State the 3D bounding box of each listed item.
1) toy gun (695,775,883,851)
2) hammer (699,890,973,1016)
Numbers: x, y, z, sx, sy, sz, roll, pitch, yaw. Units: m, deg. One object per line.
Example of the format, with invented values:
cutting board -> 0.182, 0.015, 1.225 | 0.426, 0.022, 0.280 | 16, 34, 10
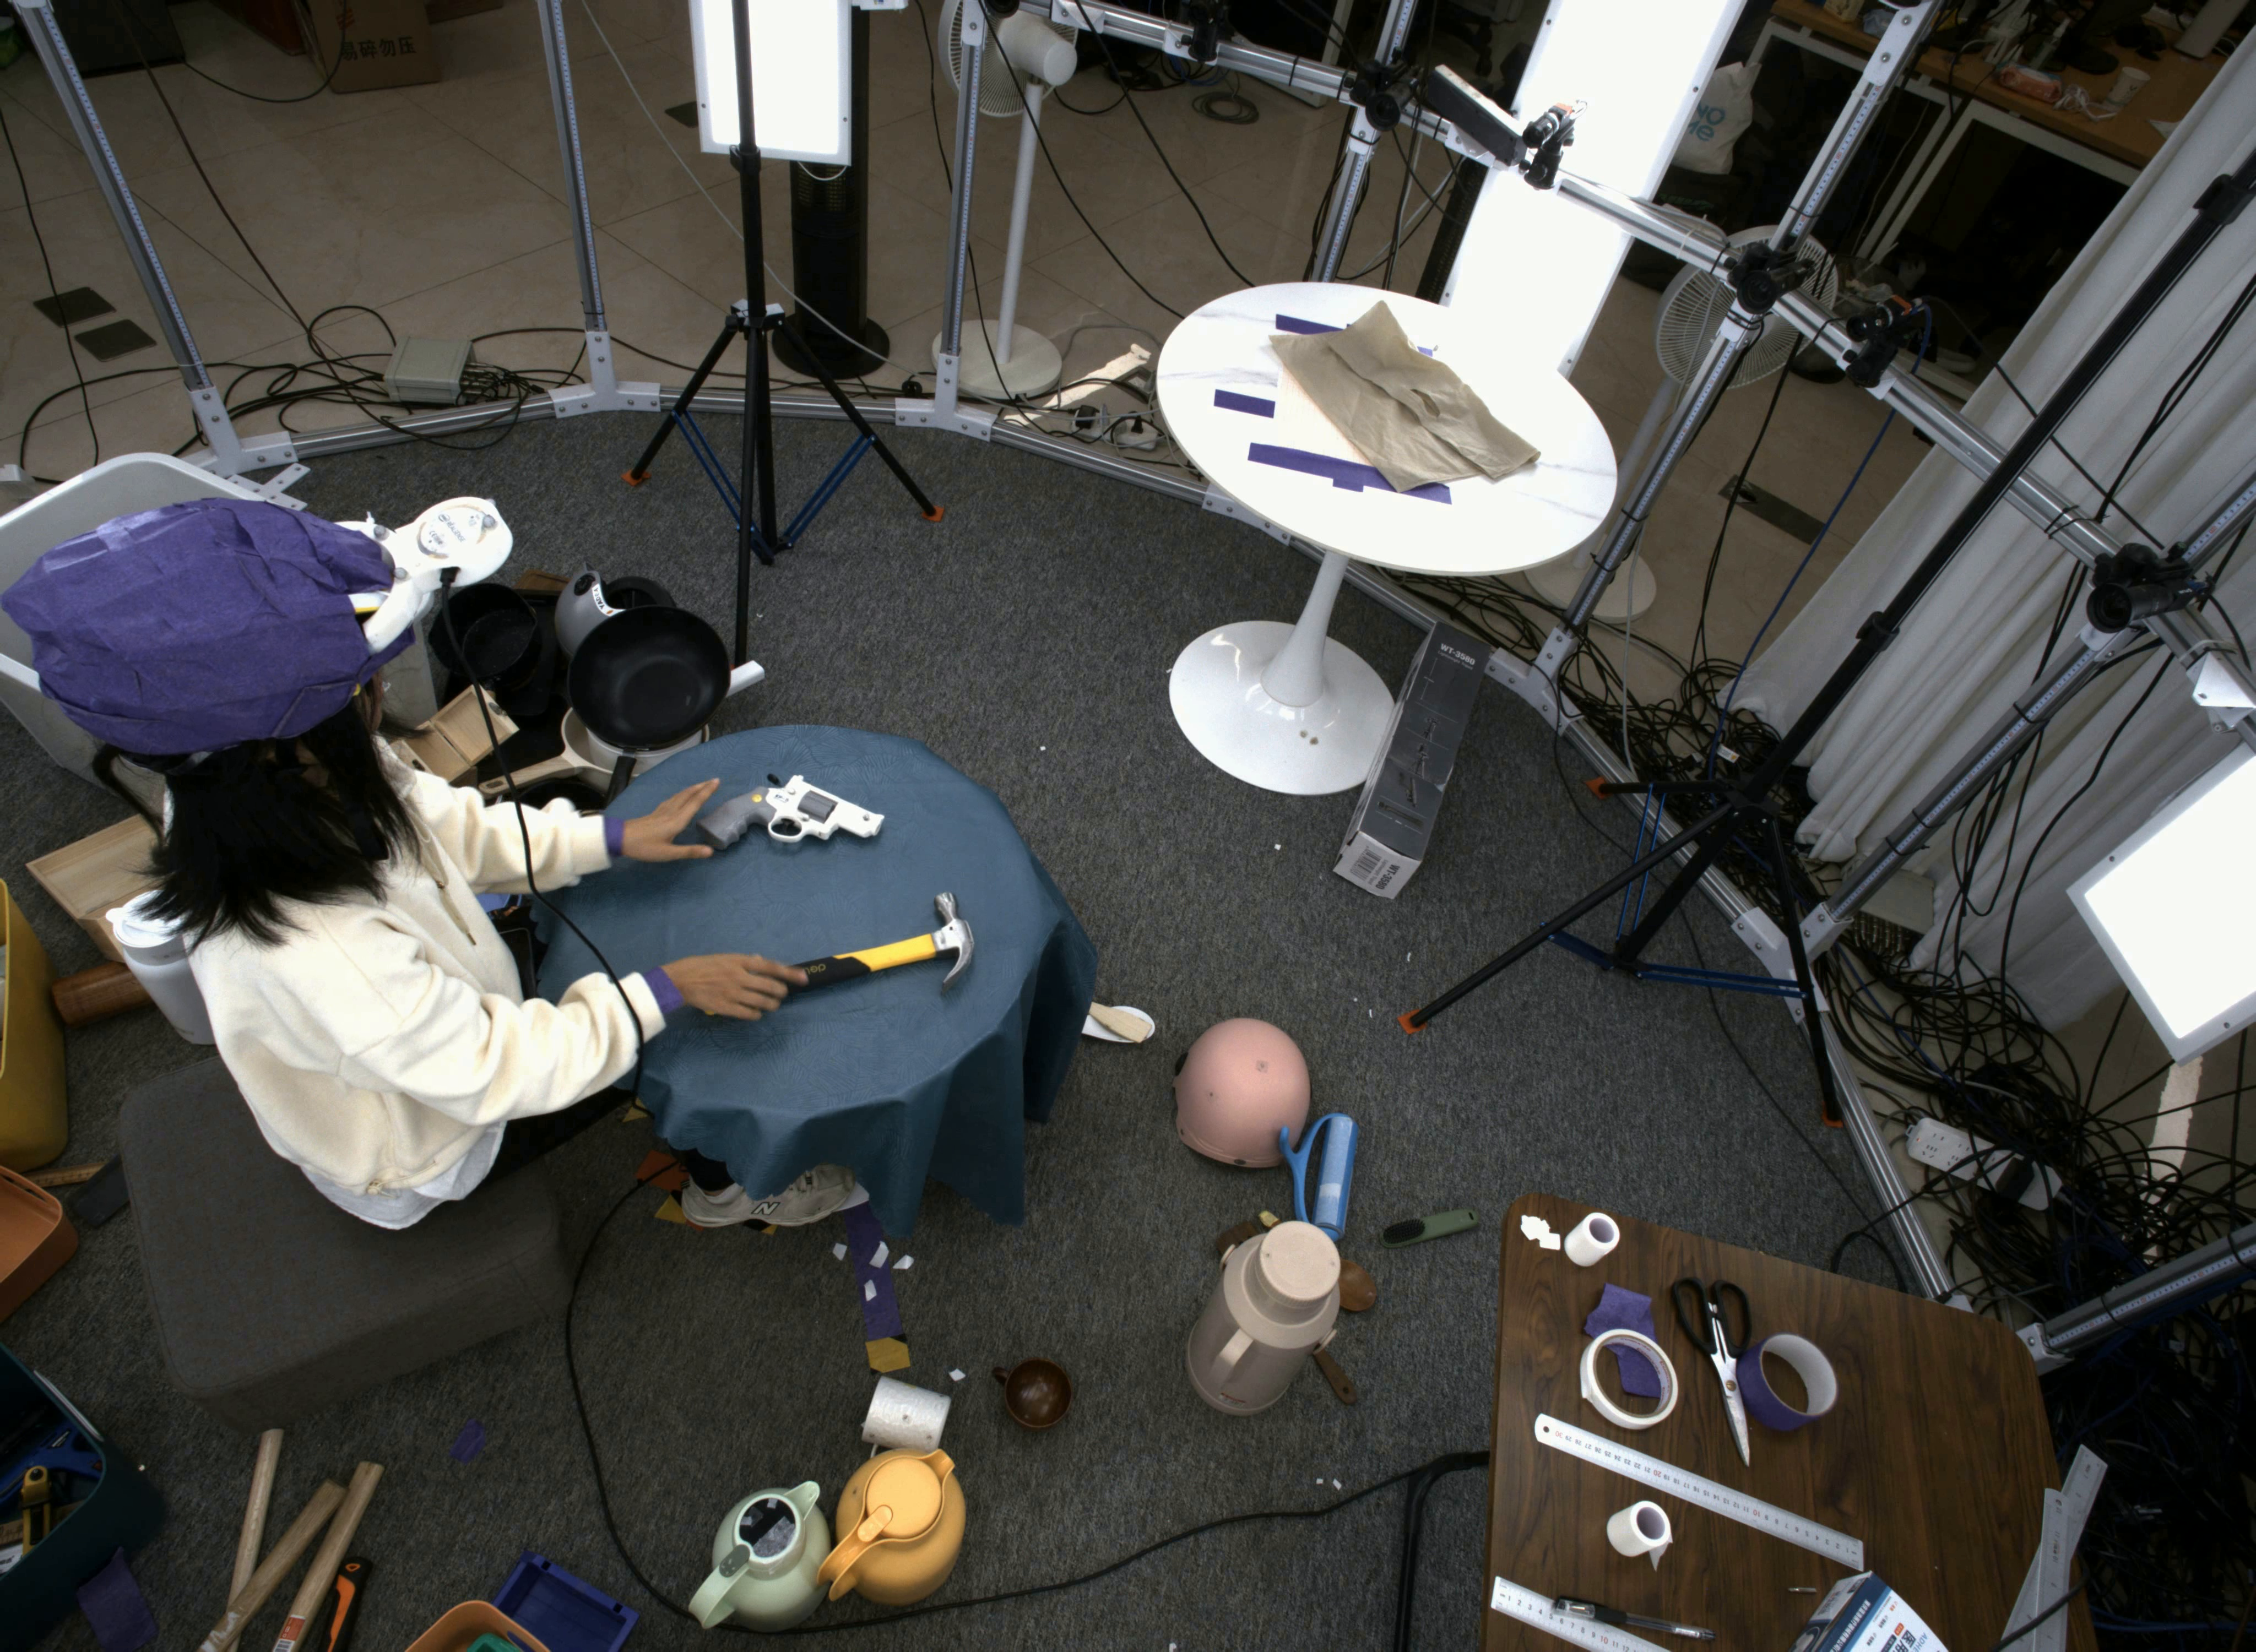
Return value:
toy gun -> -0.442, -0.005, 1.693 | 0.207, 0.039, 0.140 | 21, 50, 1
hammer -> -0.352, 0.169, 1.587 | 0.340, 0.033, 0.128 | -12, 60, -24
